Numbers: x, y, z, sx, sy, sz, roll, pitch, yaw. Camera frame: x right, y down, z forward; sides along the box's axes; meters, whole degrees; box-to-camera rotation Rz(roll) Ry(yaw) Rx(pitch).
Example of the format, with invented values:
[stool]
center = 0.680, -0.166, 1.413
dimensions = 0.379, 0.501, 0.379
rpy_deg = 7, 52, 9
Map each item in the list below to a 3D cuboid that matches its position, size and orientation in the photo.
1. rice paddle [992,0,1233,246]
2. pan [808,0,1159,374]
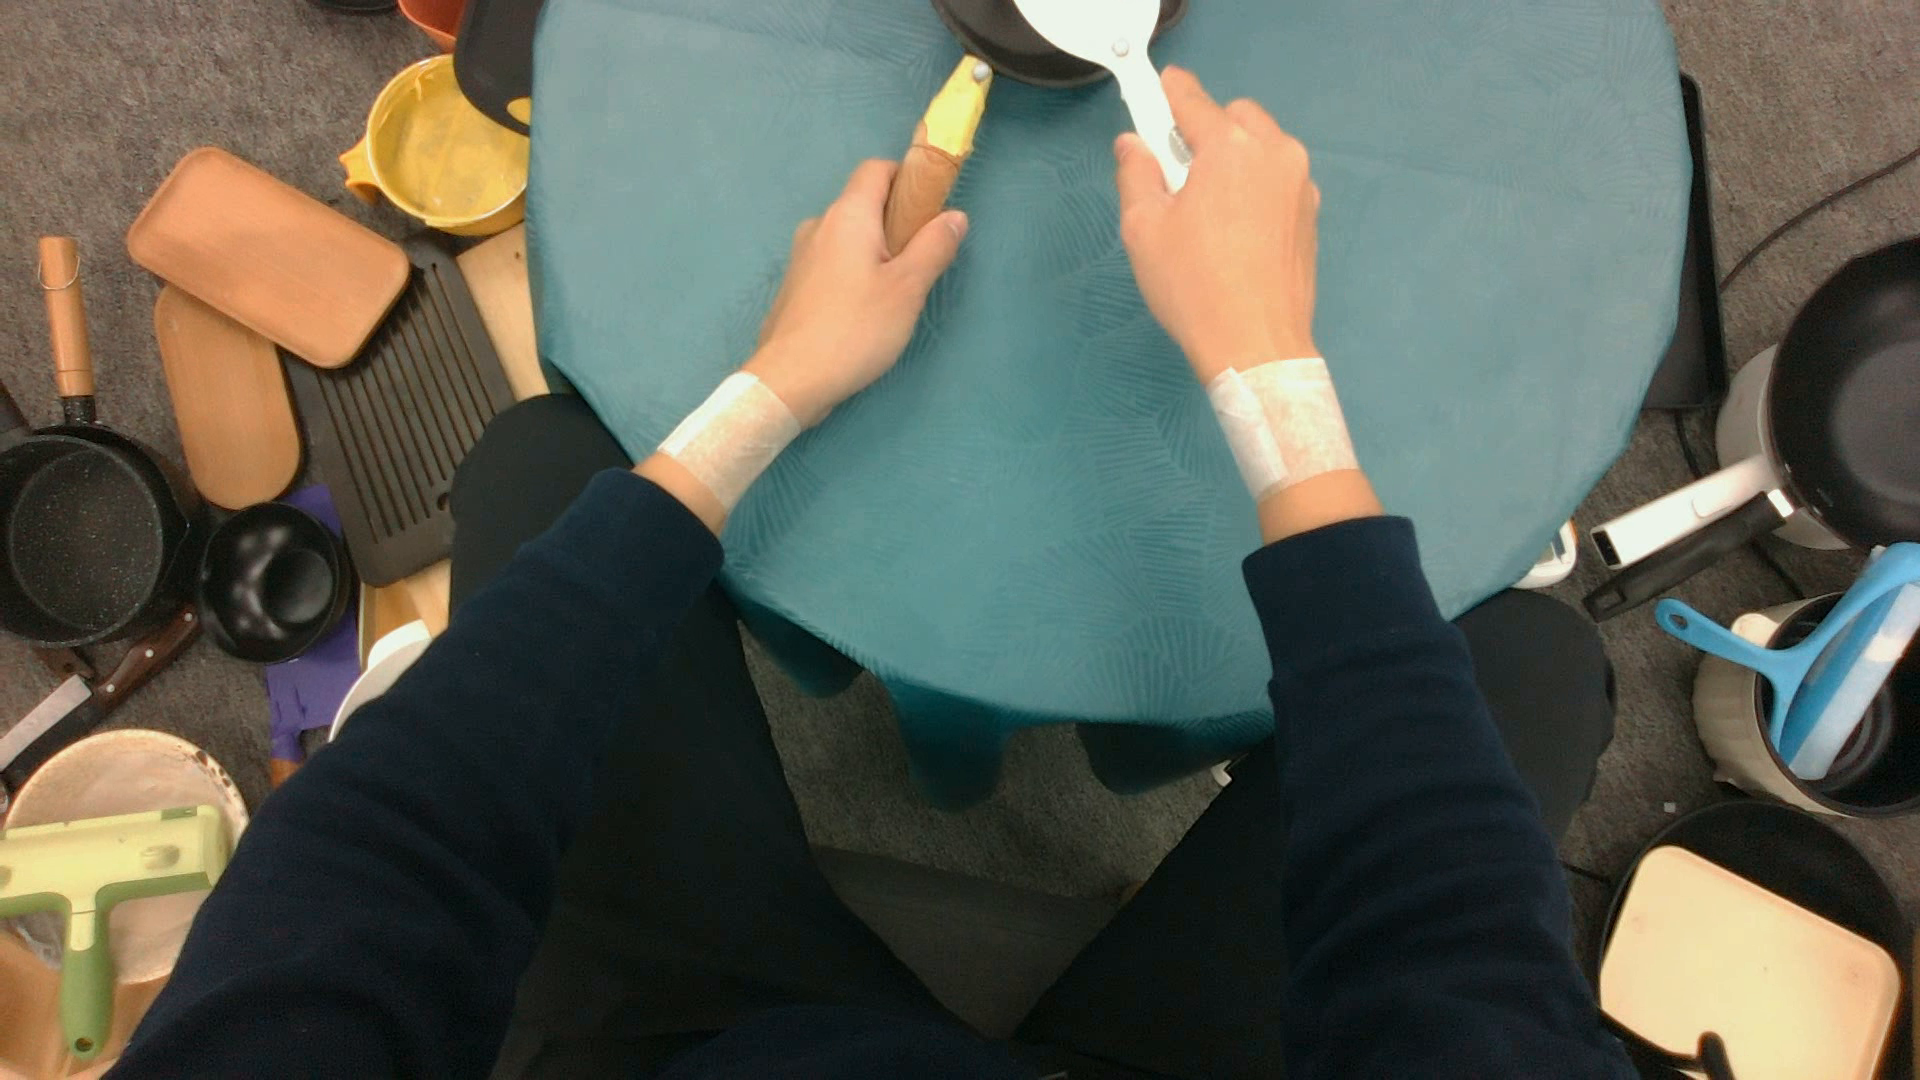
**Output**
[rice paddle]
center = 0.067, -0.226, 0.645
dimensions = 0.069, 0.029, 0.205
rpy_deg = -21, 67, -7
[pan]
center = -0.006, -0.229, 0.668
dimensions = 0.169, 0.049, 0.324
rpy_deg = 27, 89, -30
